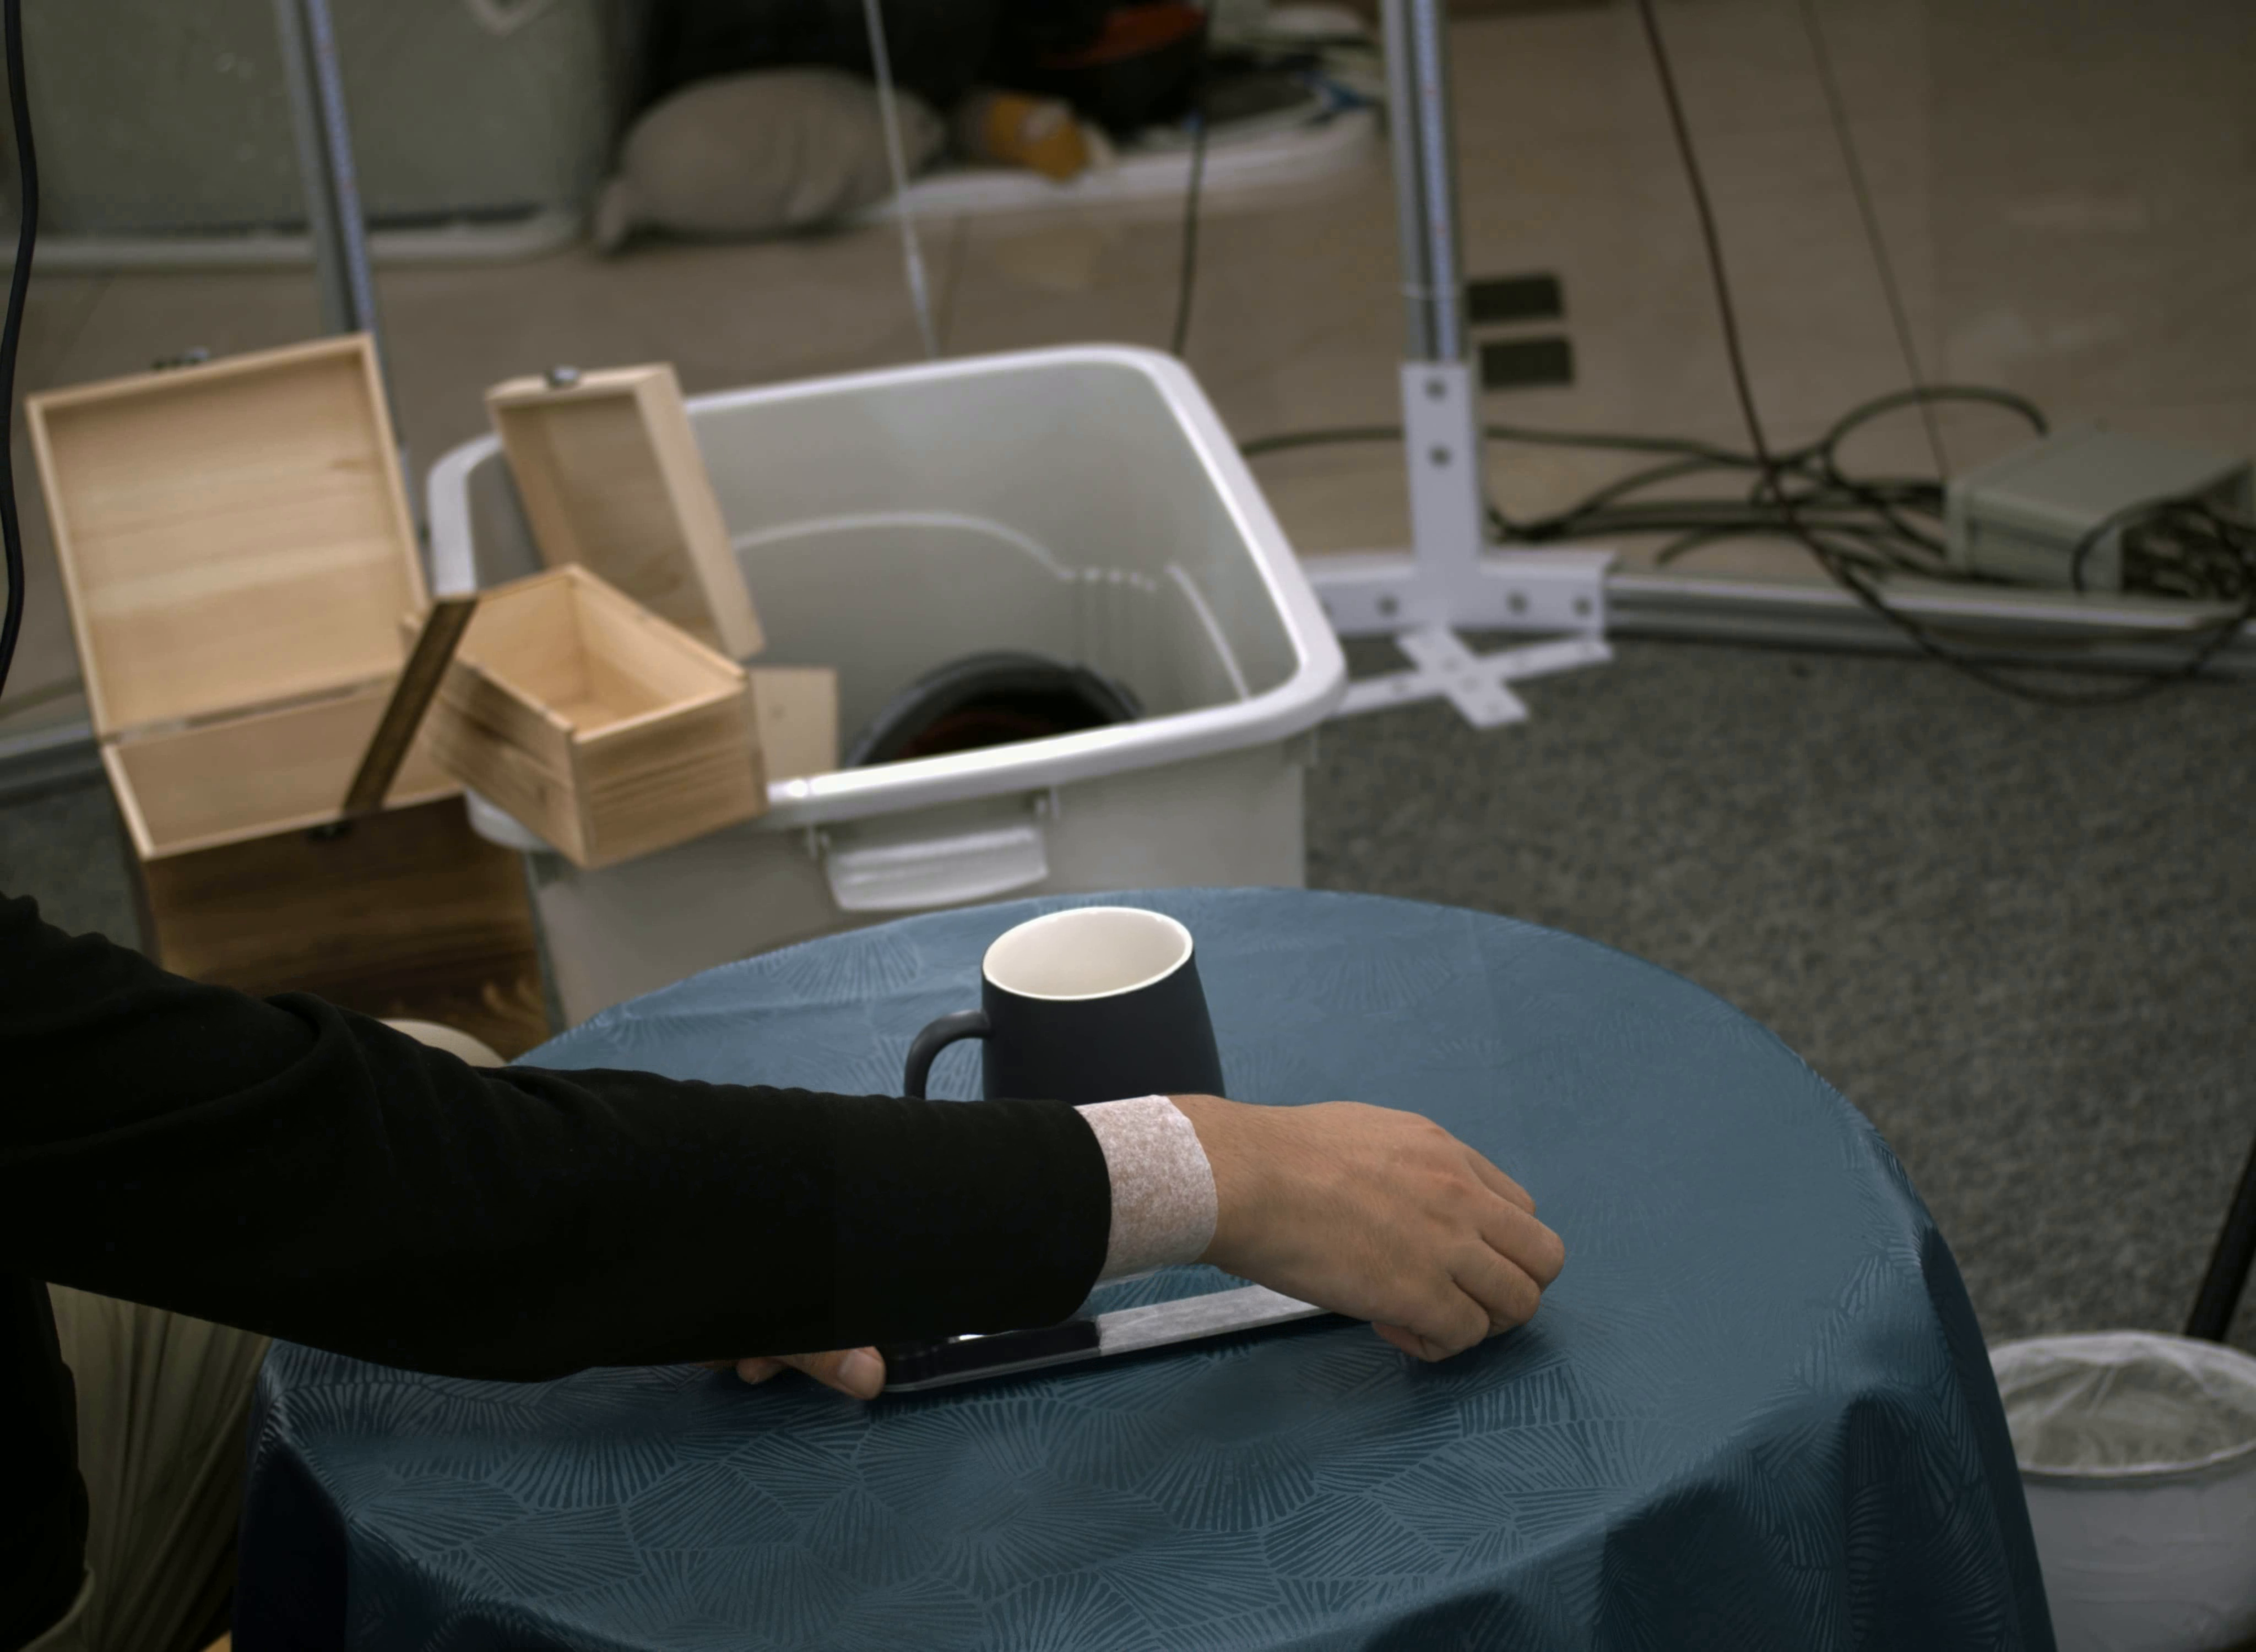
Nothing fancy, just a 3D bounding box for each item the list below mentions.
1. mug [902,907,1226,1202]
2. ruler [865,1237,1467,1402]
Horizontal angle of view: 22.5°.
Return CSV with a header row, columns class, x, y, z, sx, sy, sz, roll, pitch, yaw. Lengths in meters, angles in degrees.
class,x,y,z,sx,sy,sz,roll,pitch,yaw
mug,-0.026,0.090,2.149,0.123,0.091,0.092,-11,25,-12
ruler,0.012,0.171,2.044,0.217,0.024,0.038,-11,24,-7
